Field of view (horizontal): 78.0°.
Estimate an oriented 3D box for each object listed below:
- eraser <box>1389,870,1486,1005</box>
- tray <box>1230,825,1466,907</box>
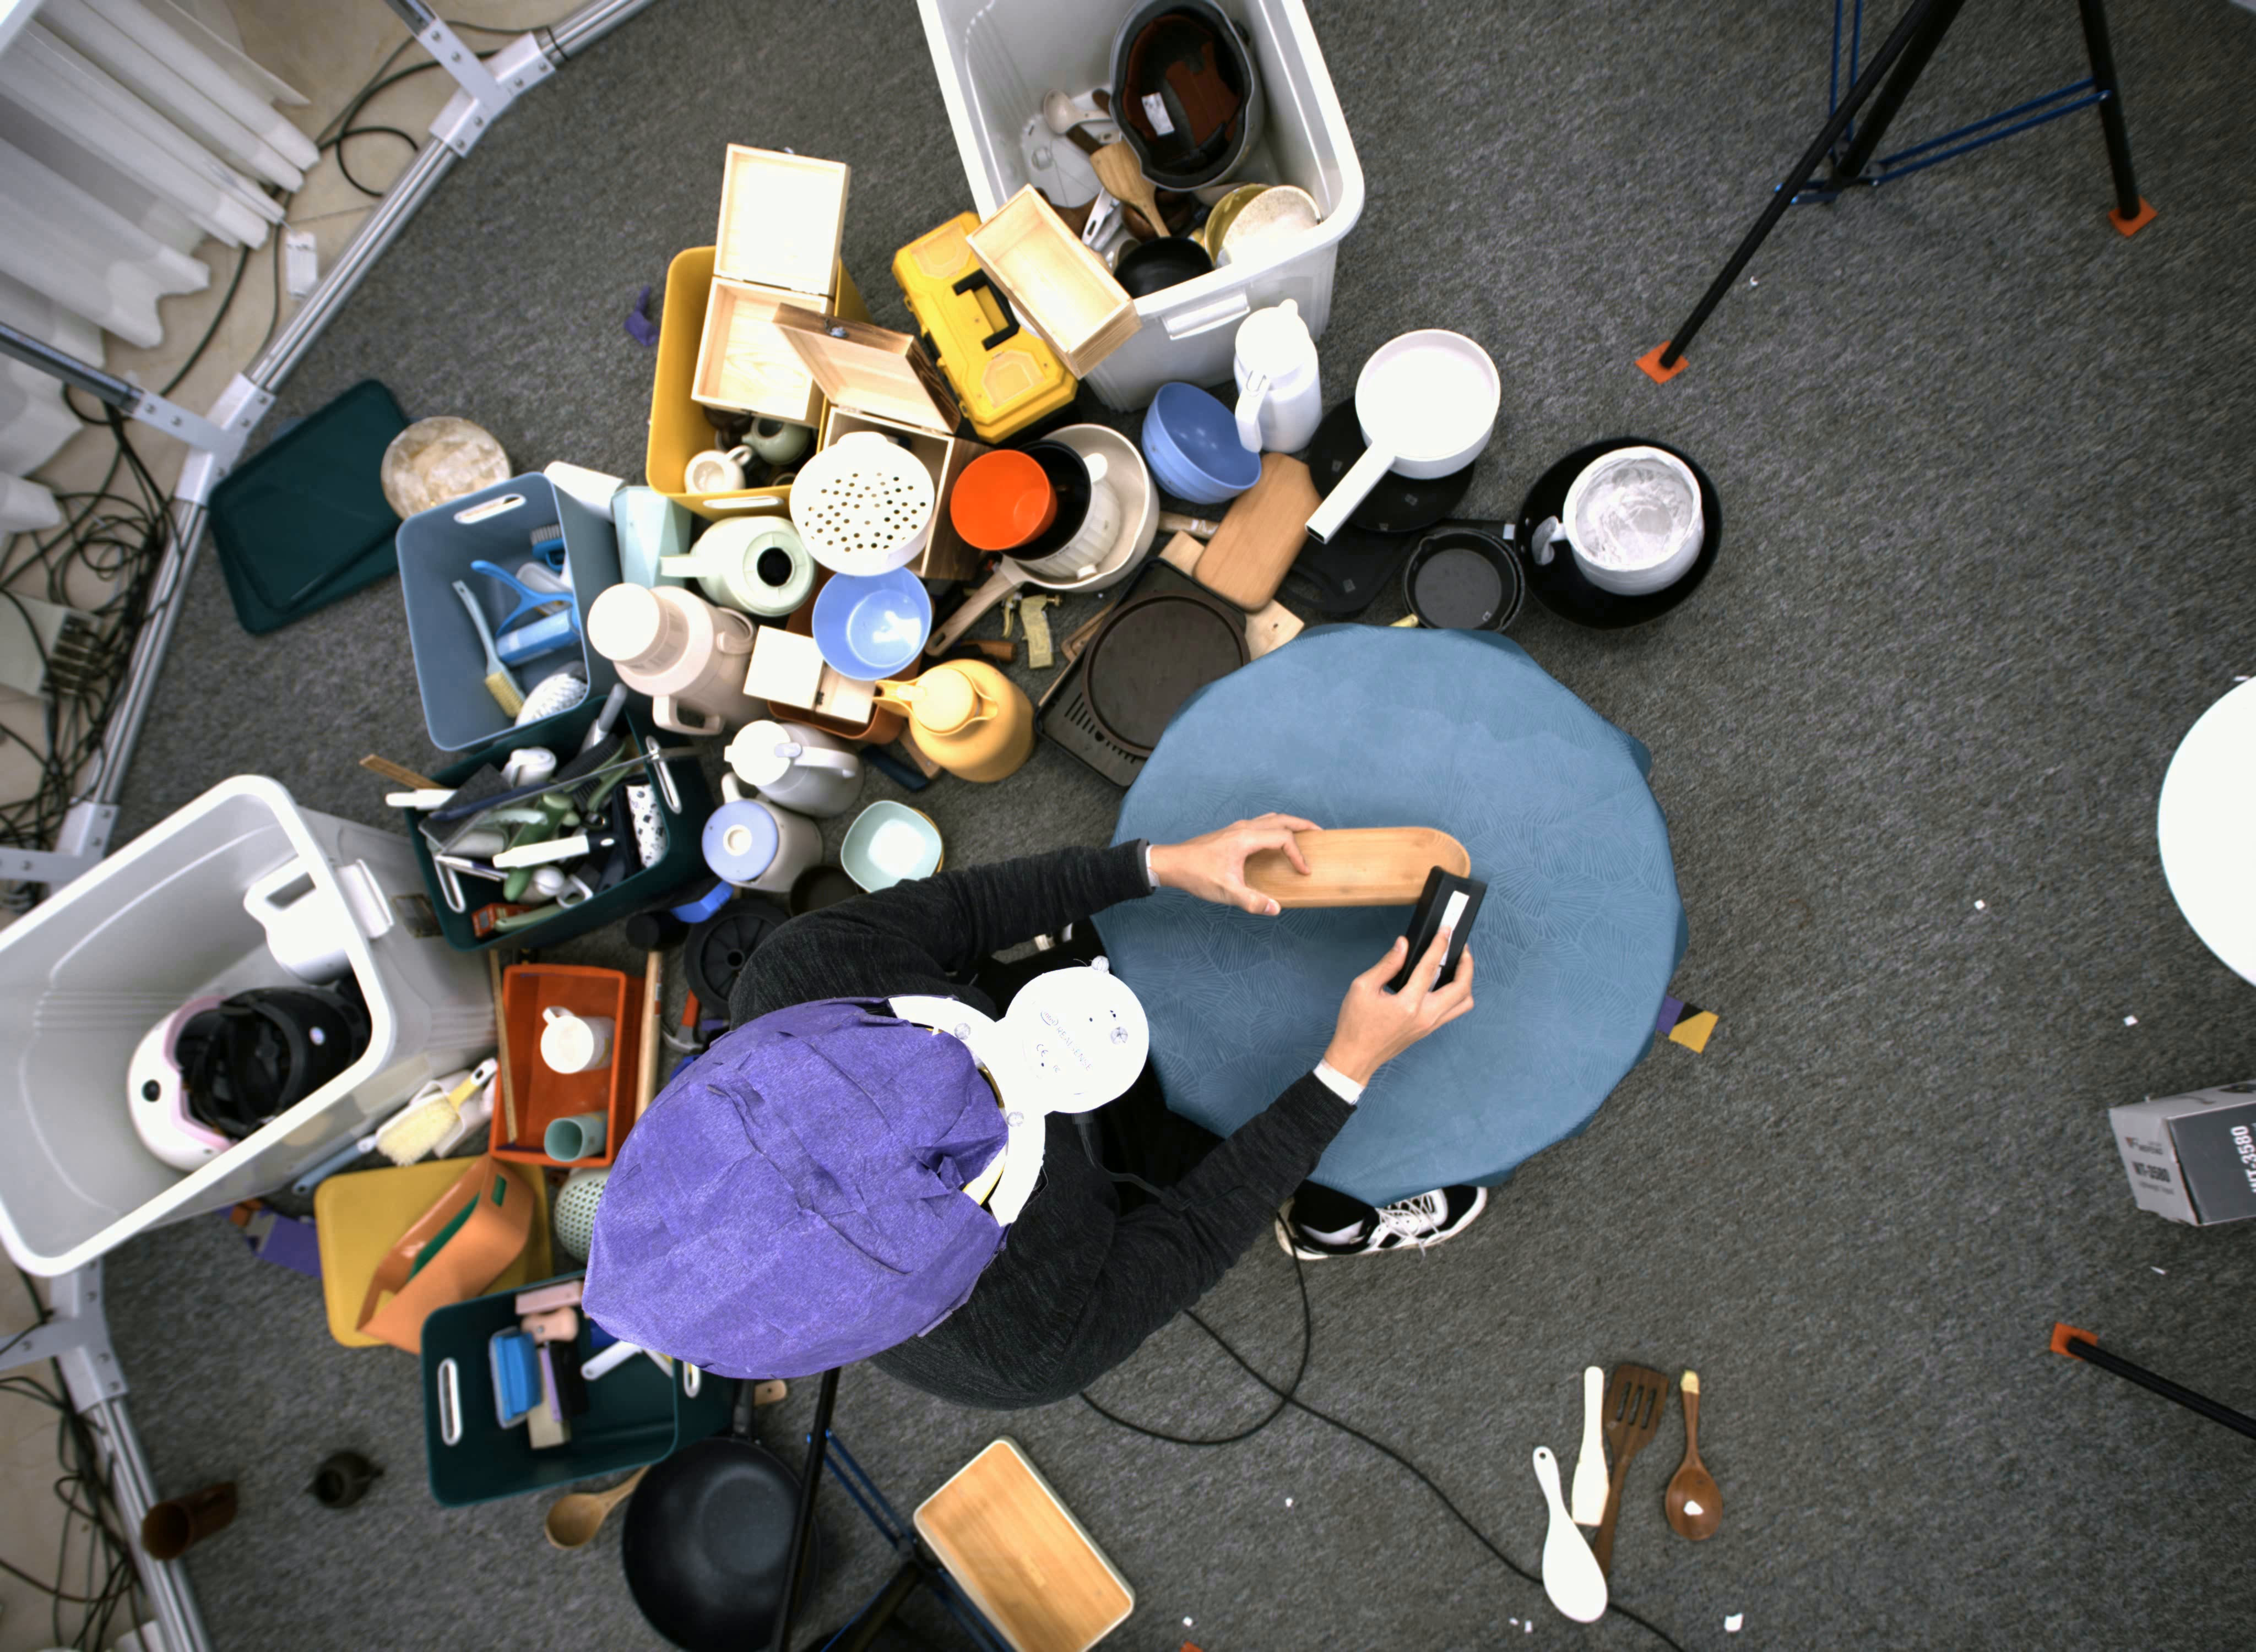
[{"bbox_3d":[0.295,0.105,1.321,0.053,0.030,0.127,15,106,-9],"label":"eraser"},{"bbox_3d":[0.217,0.039,1.369,0.232,0.099,0.021,-4,130,6],"label":"tray"}]
